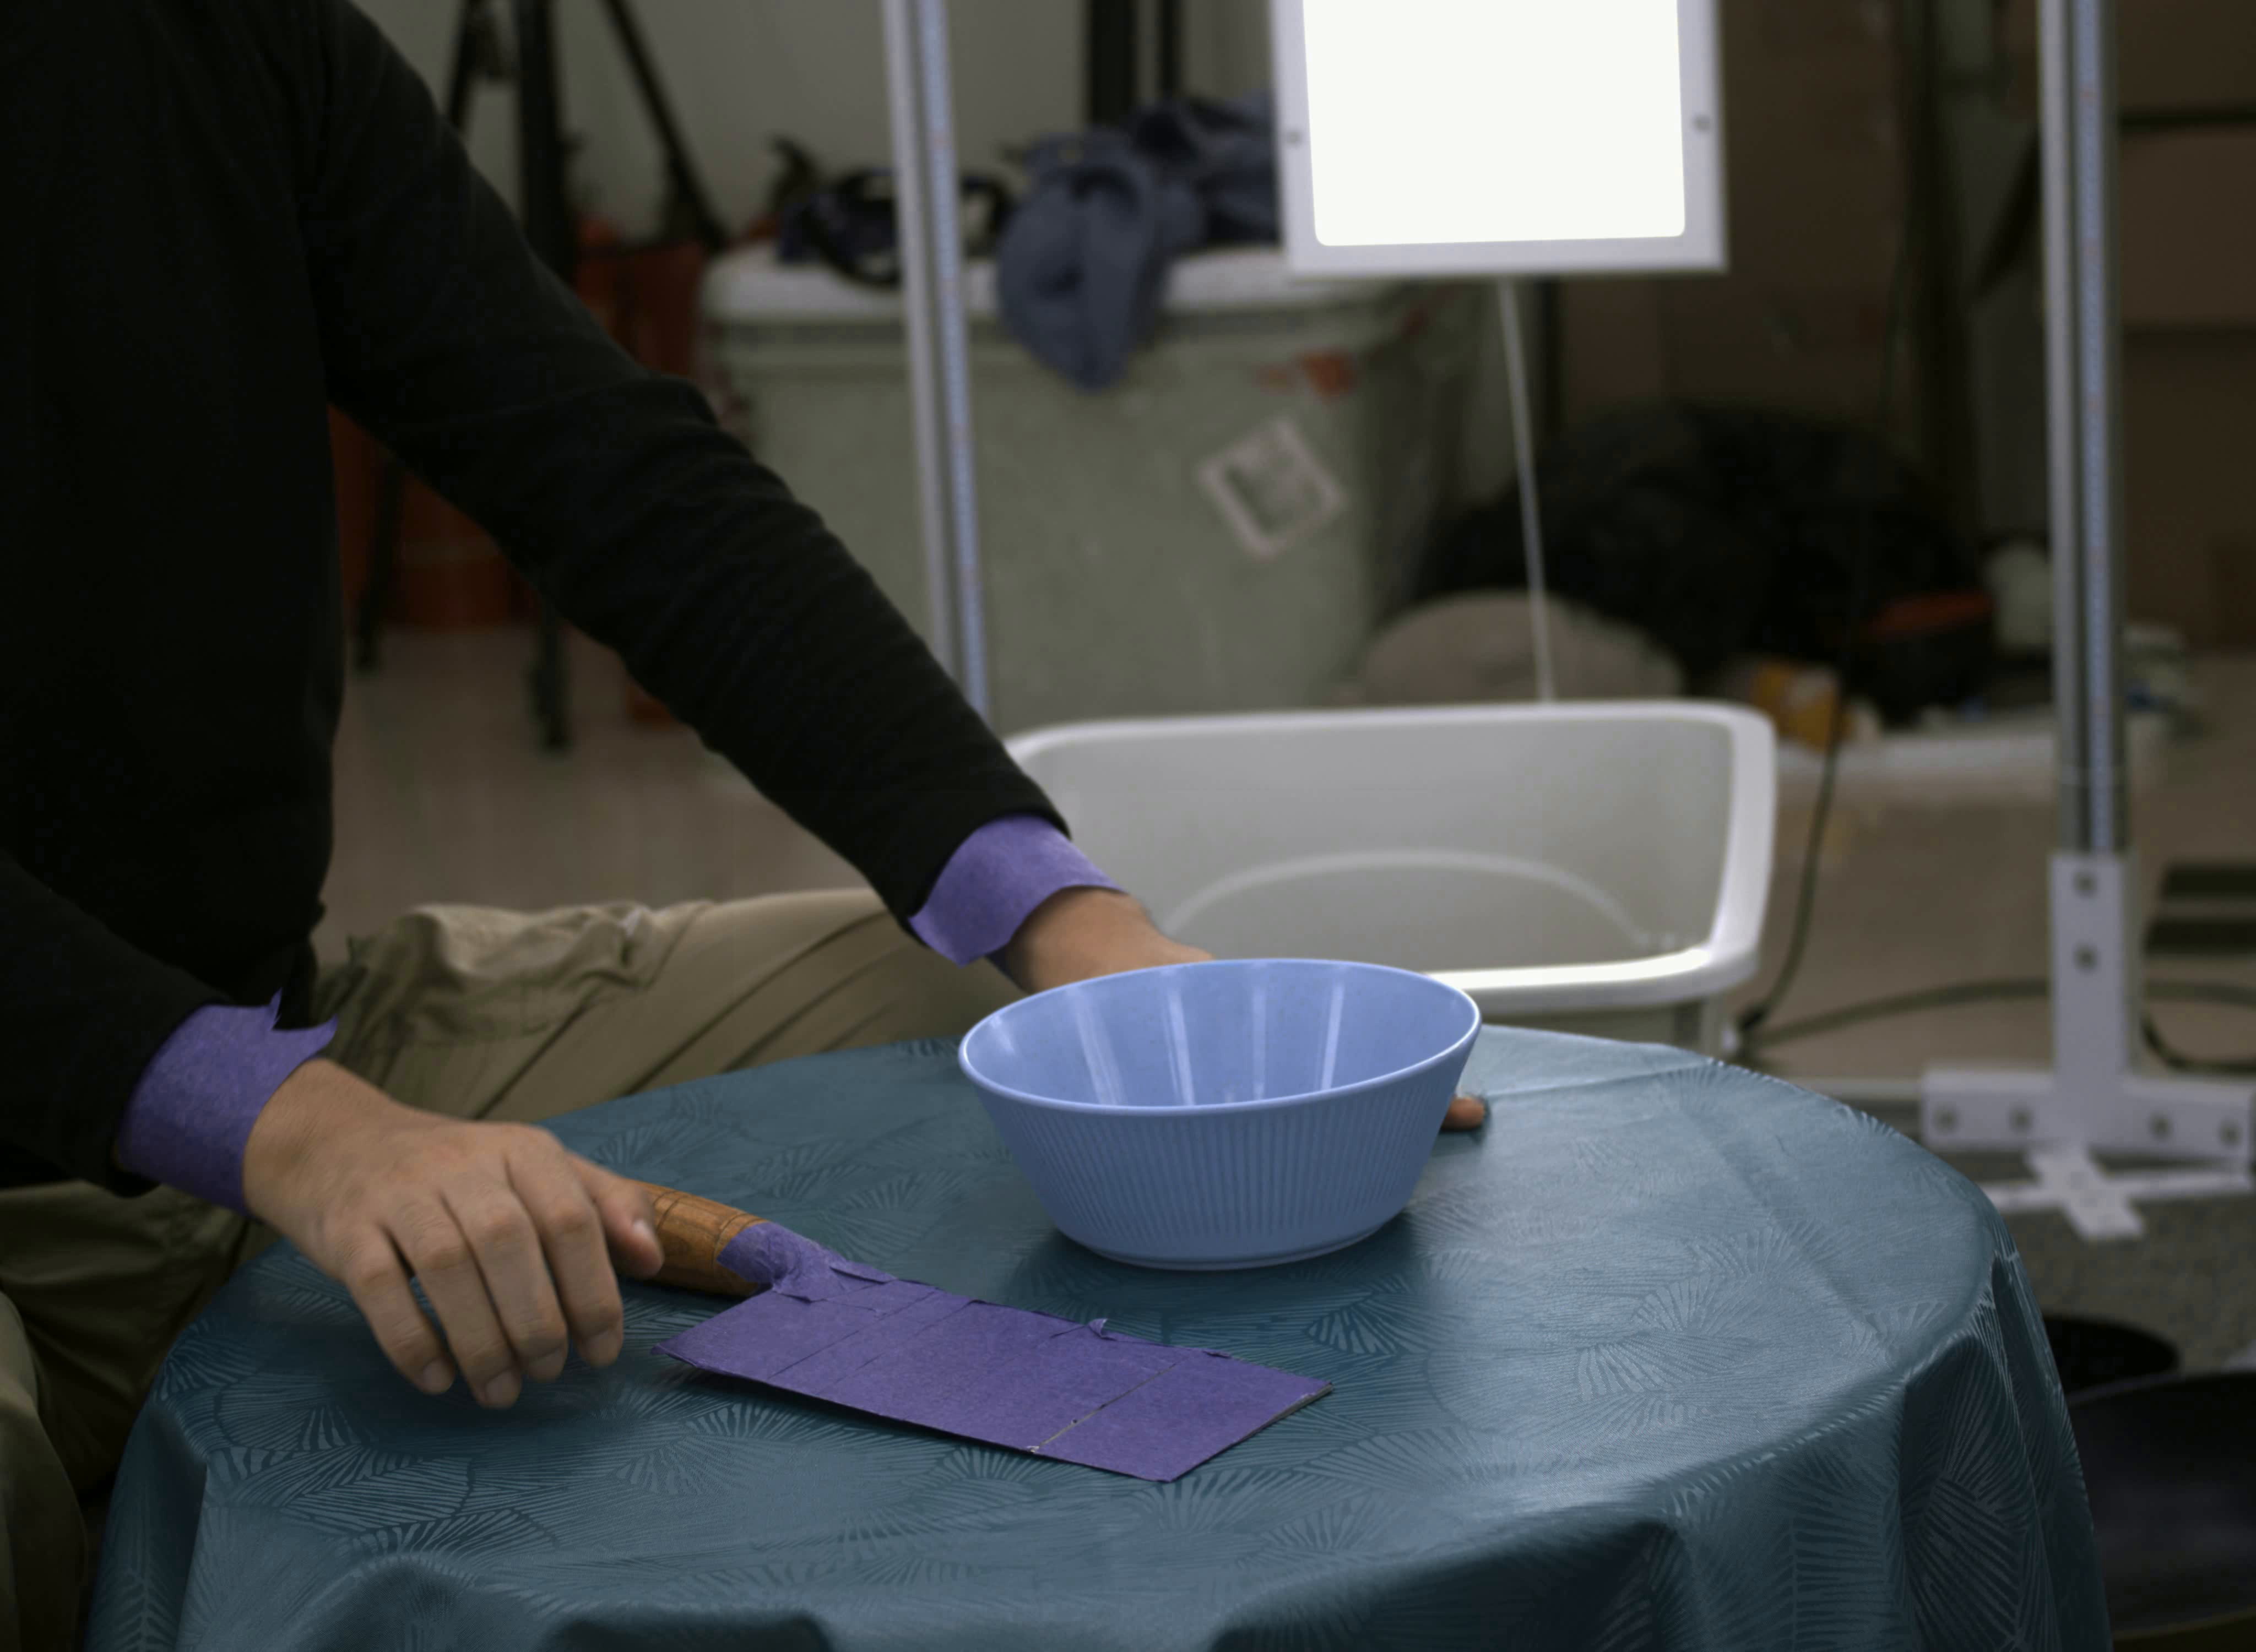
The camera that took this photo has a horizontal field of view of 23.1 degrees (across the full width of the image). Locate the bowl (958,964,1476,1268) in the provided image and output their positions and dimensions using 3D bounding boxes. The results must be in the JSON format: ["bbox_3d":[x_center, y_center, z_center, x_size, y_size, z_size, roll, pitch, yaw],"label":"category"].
[{"bbox_3d":[0.032,0.100,1.848,0.175,0.070,0.176,-5,13,0],"label":"bowl"}]

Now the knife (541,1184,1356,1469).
[{"bbox_3d":[-0.082,0.157,1.749,0.322,0.032,0.101,7,18,38],"label":"knife"}]
